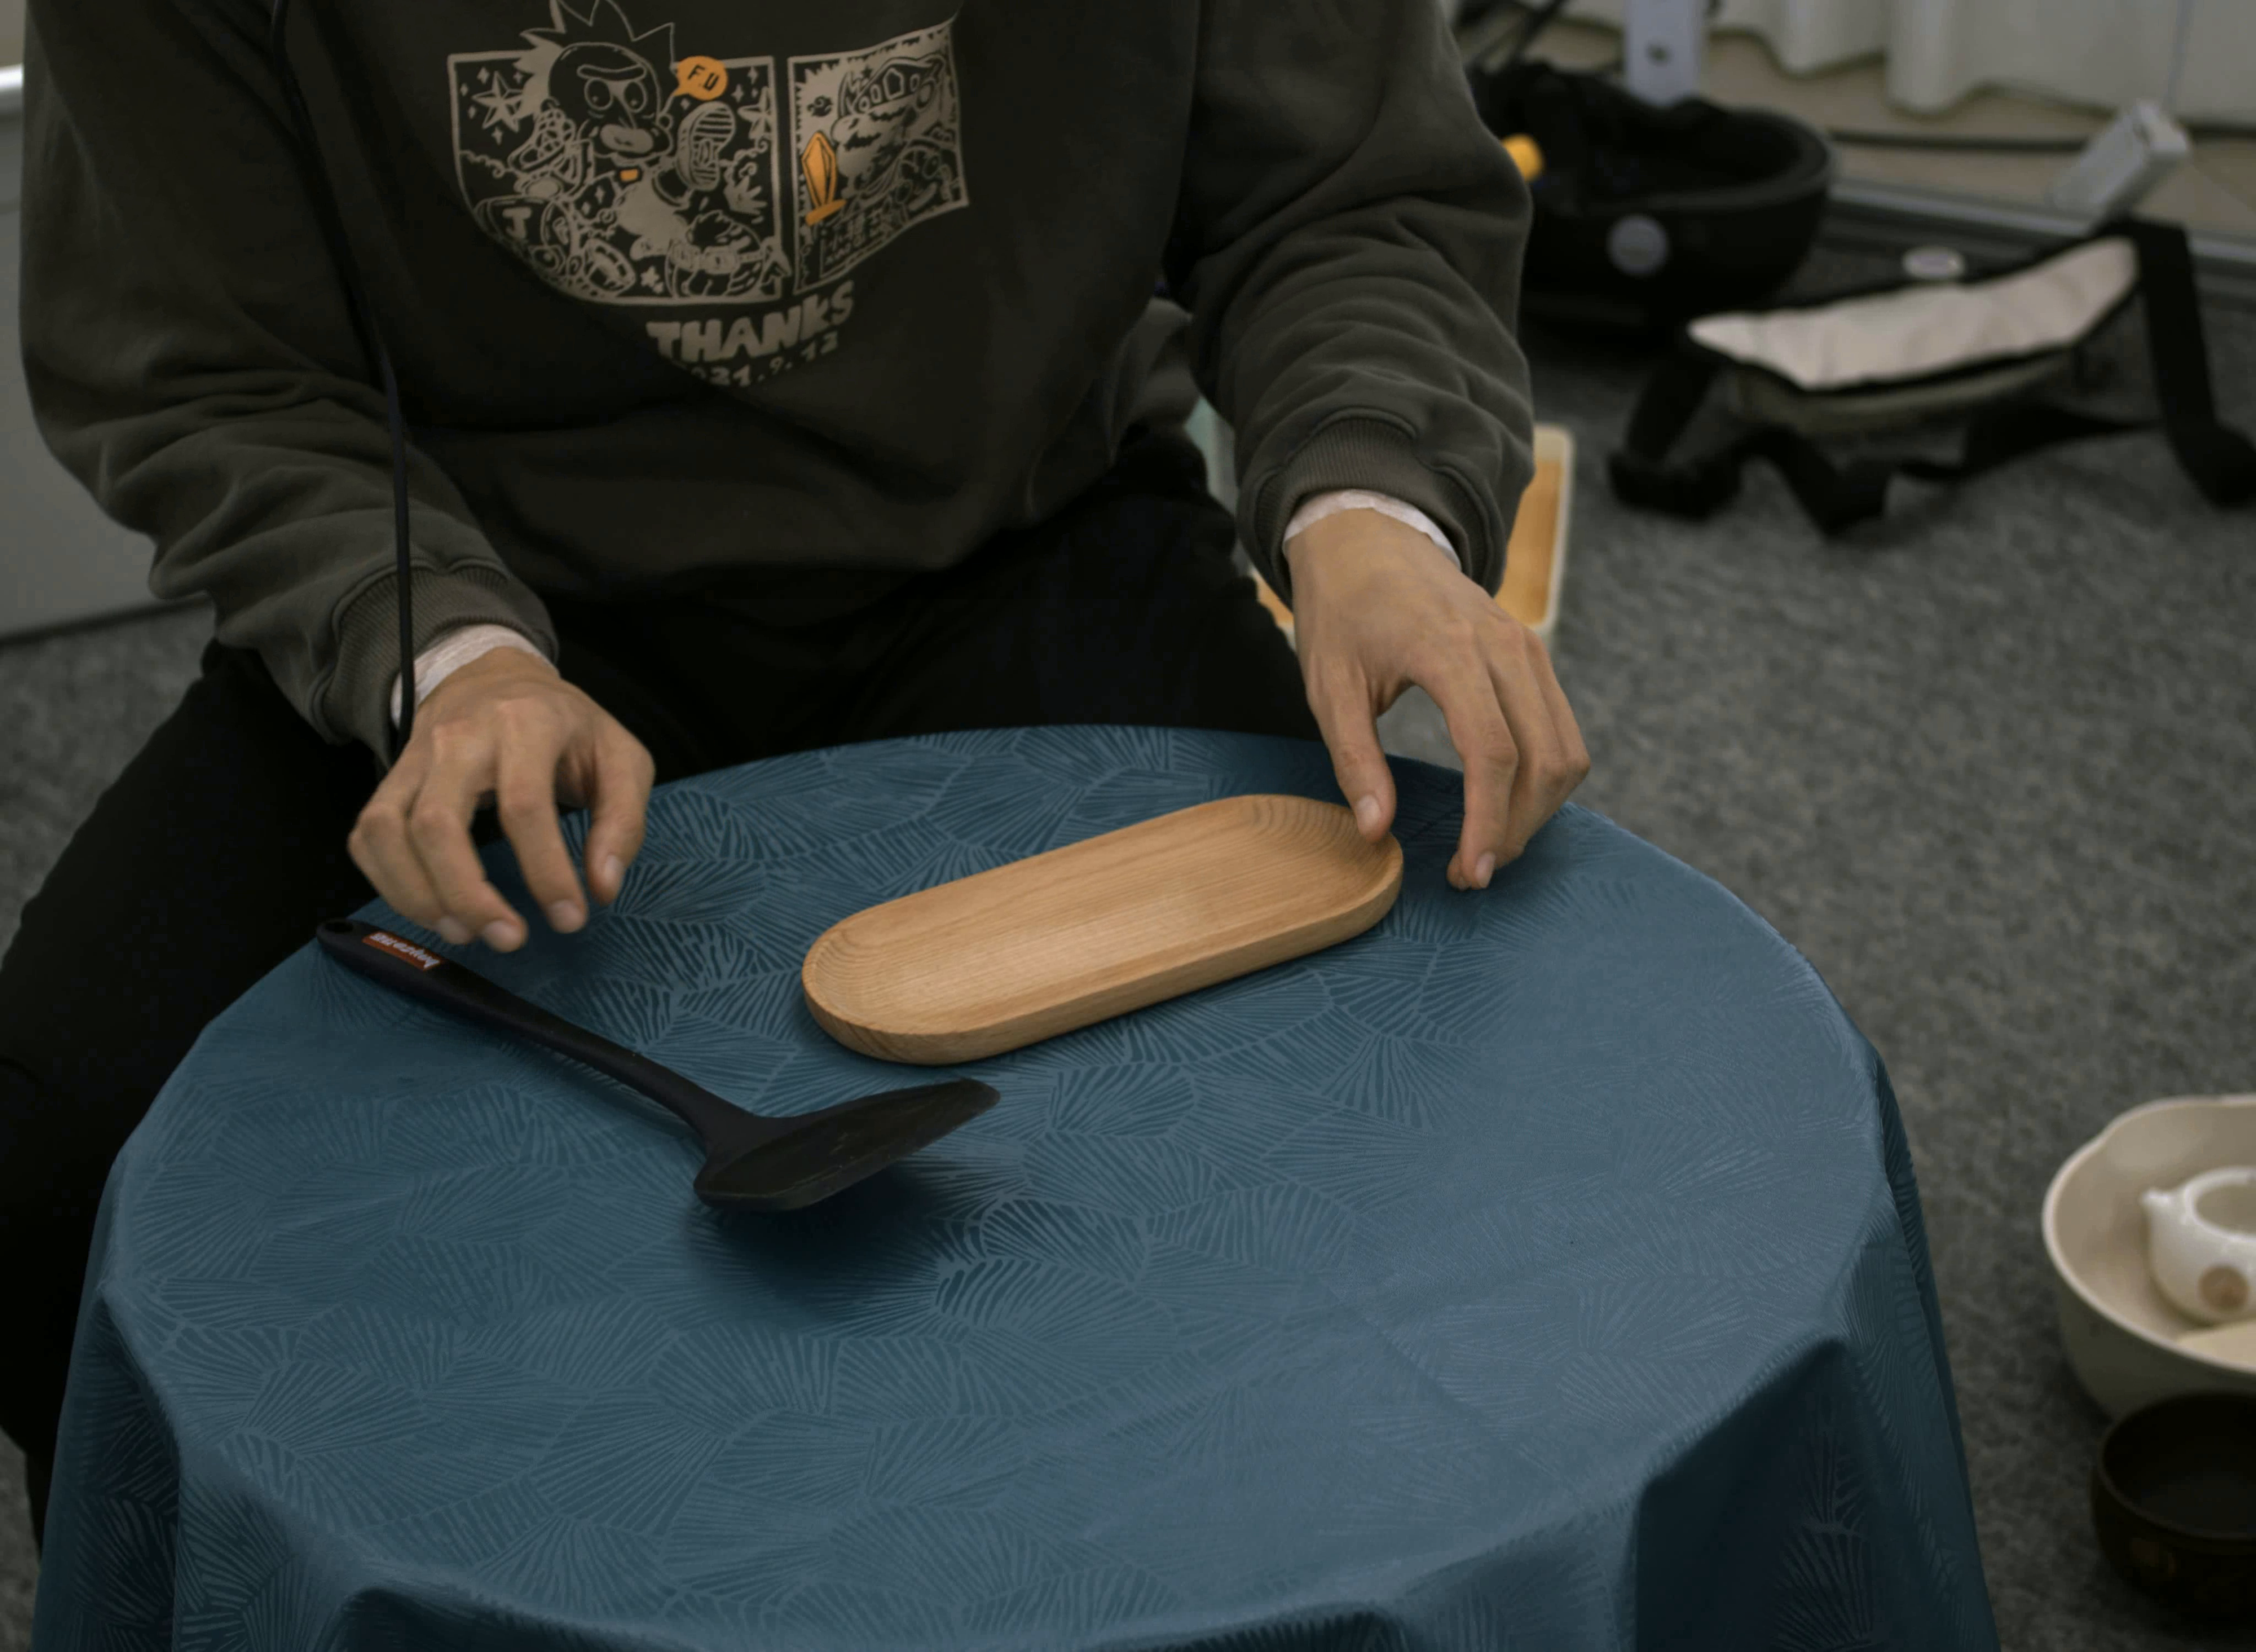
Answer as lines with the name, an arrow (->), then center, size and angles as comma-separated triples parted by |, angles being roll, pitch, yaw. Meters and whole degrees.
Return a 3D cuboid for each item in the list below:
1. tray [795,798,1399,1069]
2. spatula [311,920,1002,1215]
tray -> -0.009, 0.038, 2.004 | 0.232, 0.020, 0.102 | -18, 31, -24
spatula -> -0.182, 0.074, 1.930 | 0.101, 0.040, 0.326 | -25, 35, -38
